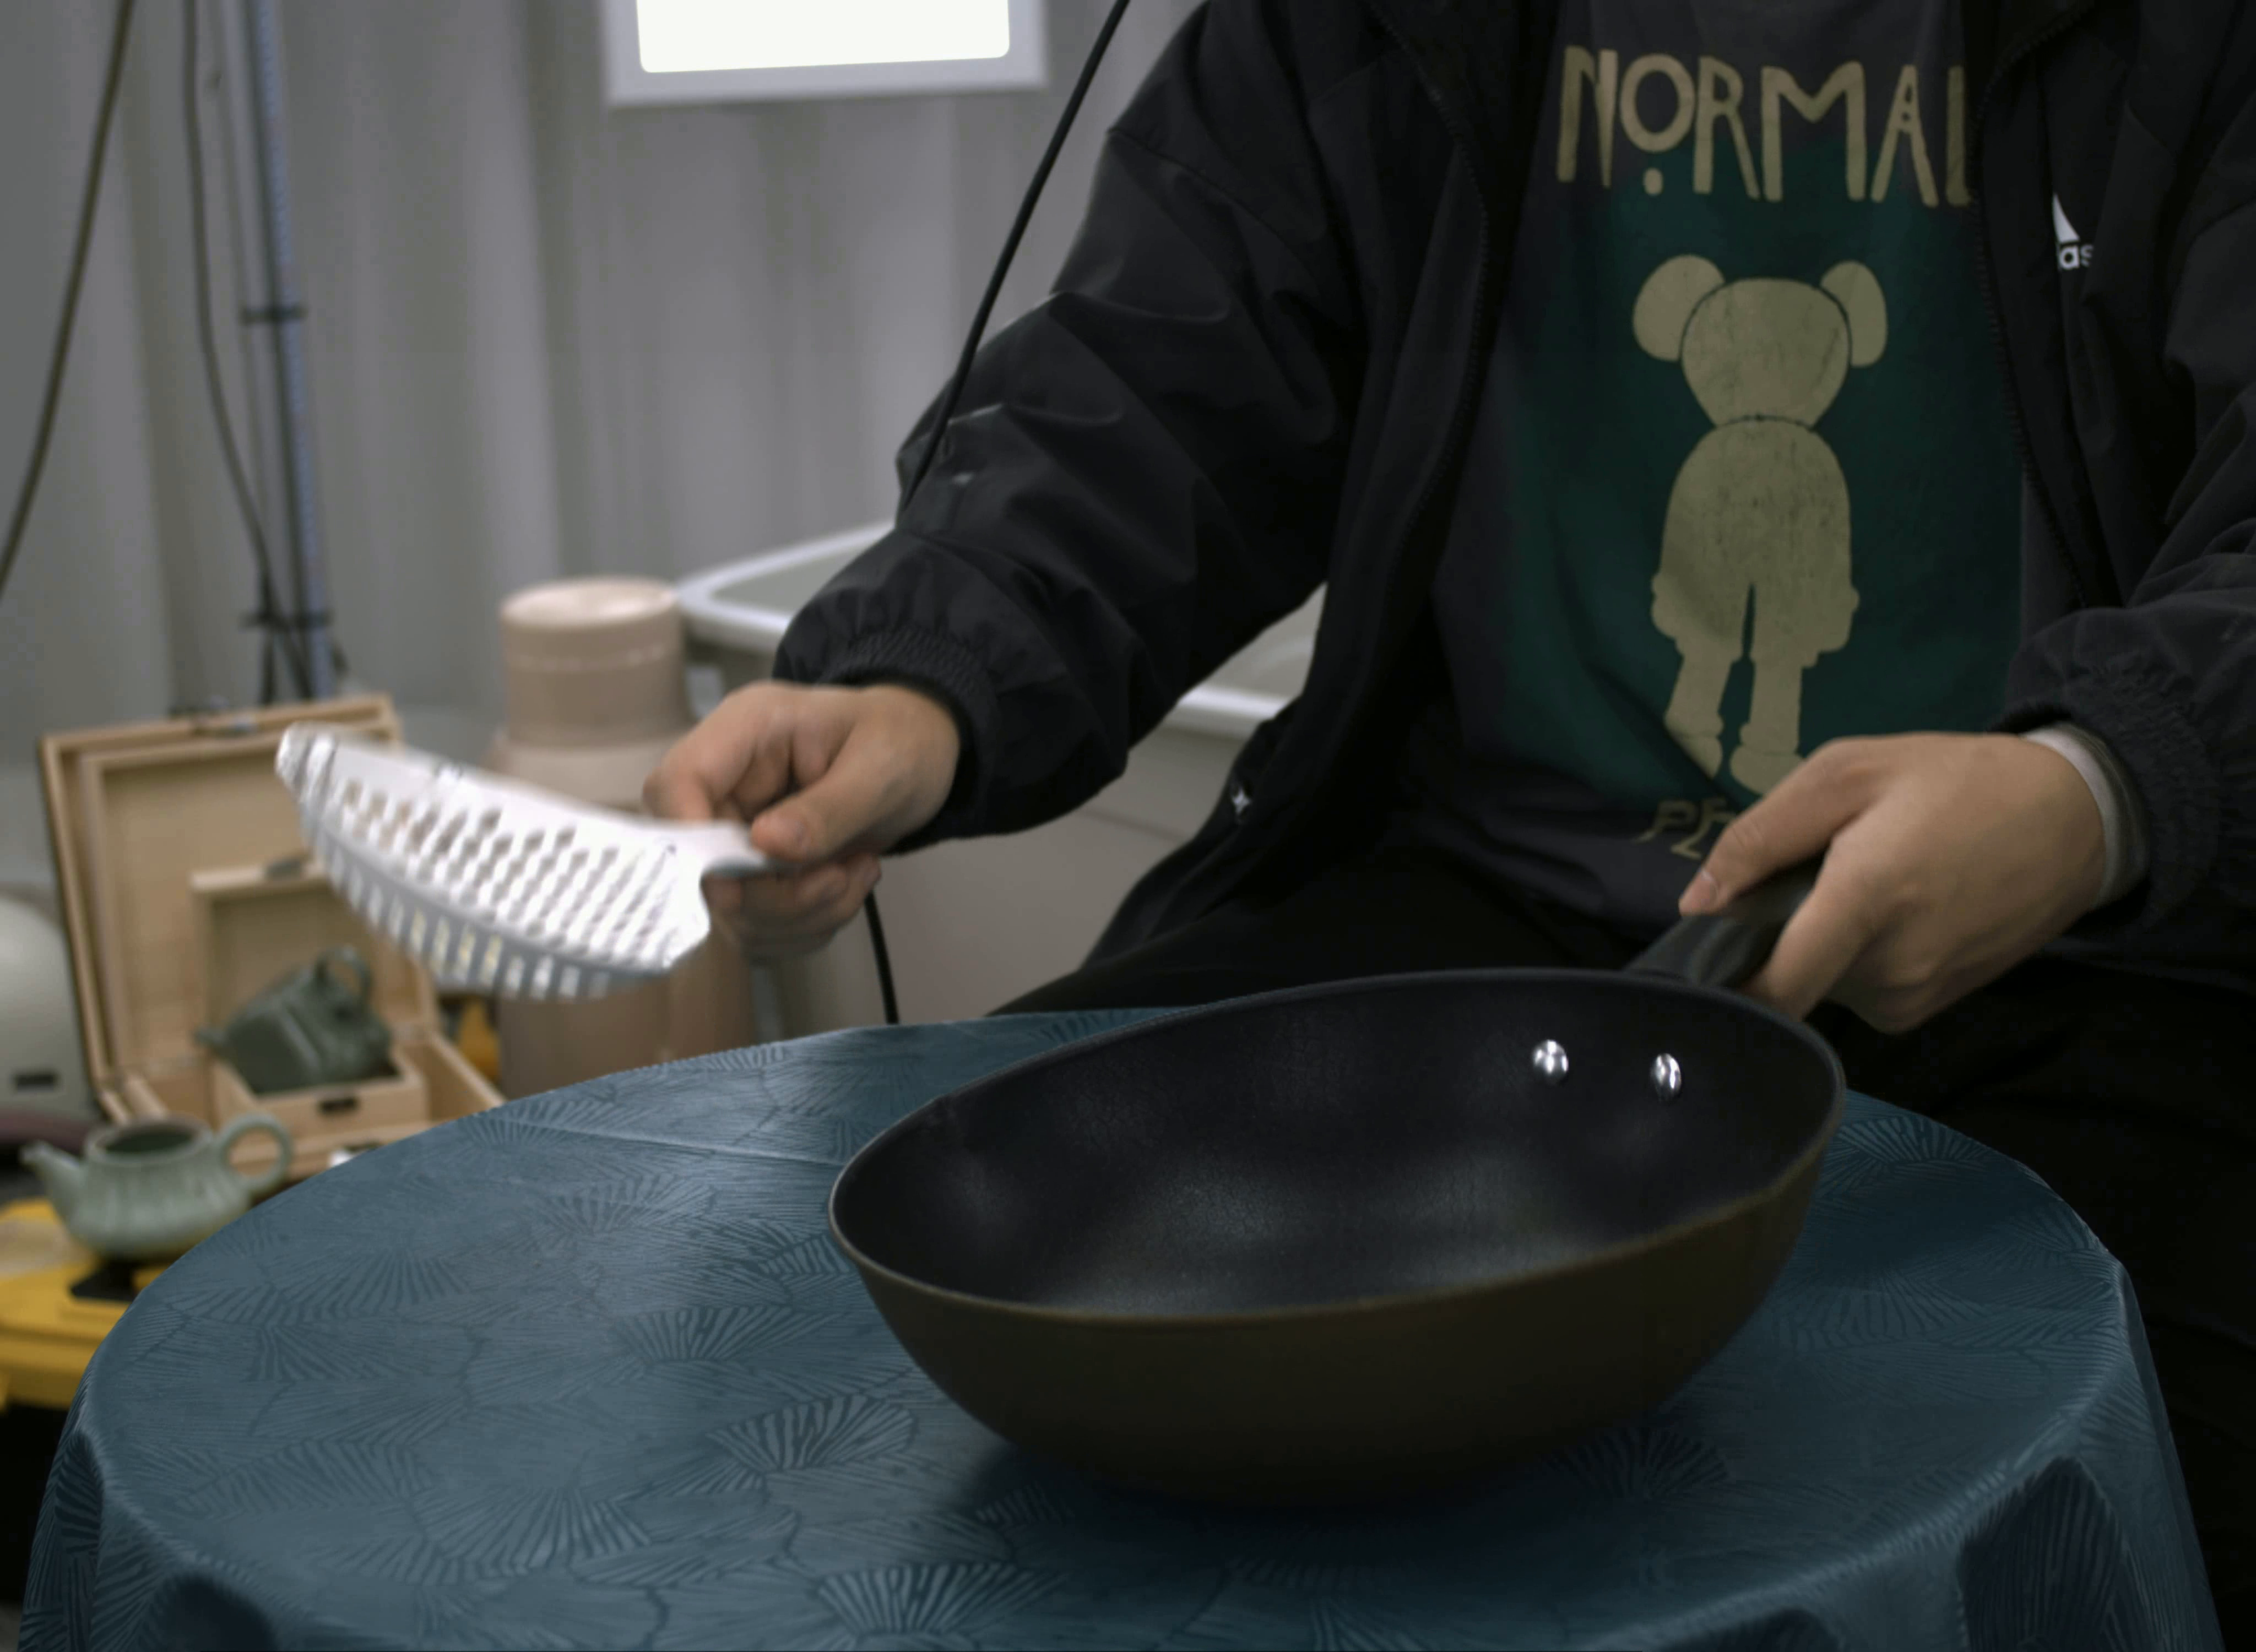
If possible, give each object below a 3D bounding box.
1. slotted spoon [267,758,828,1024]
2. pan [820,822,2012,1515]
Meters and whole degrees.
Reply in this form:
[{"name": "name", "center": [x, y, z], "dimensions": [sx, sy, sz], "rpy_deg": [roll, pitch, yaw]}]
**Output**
[{"name": "slotted spoon", "center": [-0.154, 0.023, 1.704], "dimensions": [0.137, 0.050, 0.347], "rpy_deg": [29, 14, 17]}, {"name": "pan", "center": [0.117, 0.096, 1.563], "dimensions": [0.289, 0.086, 0.463], "rpy_deg": [6, 20, 40]}]
